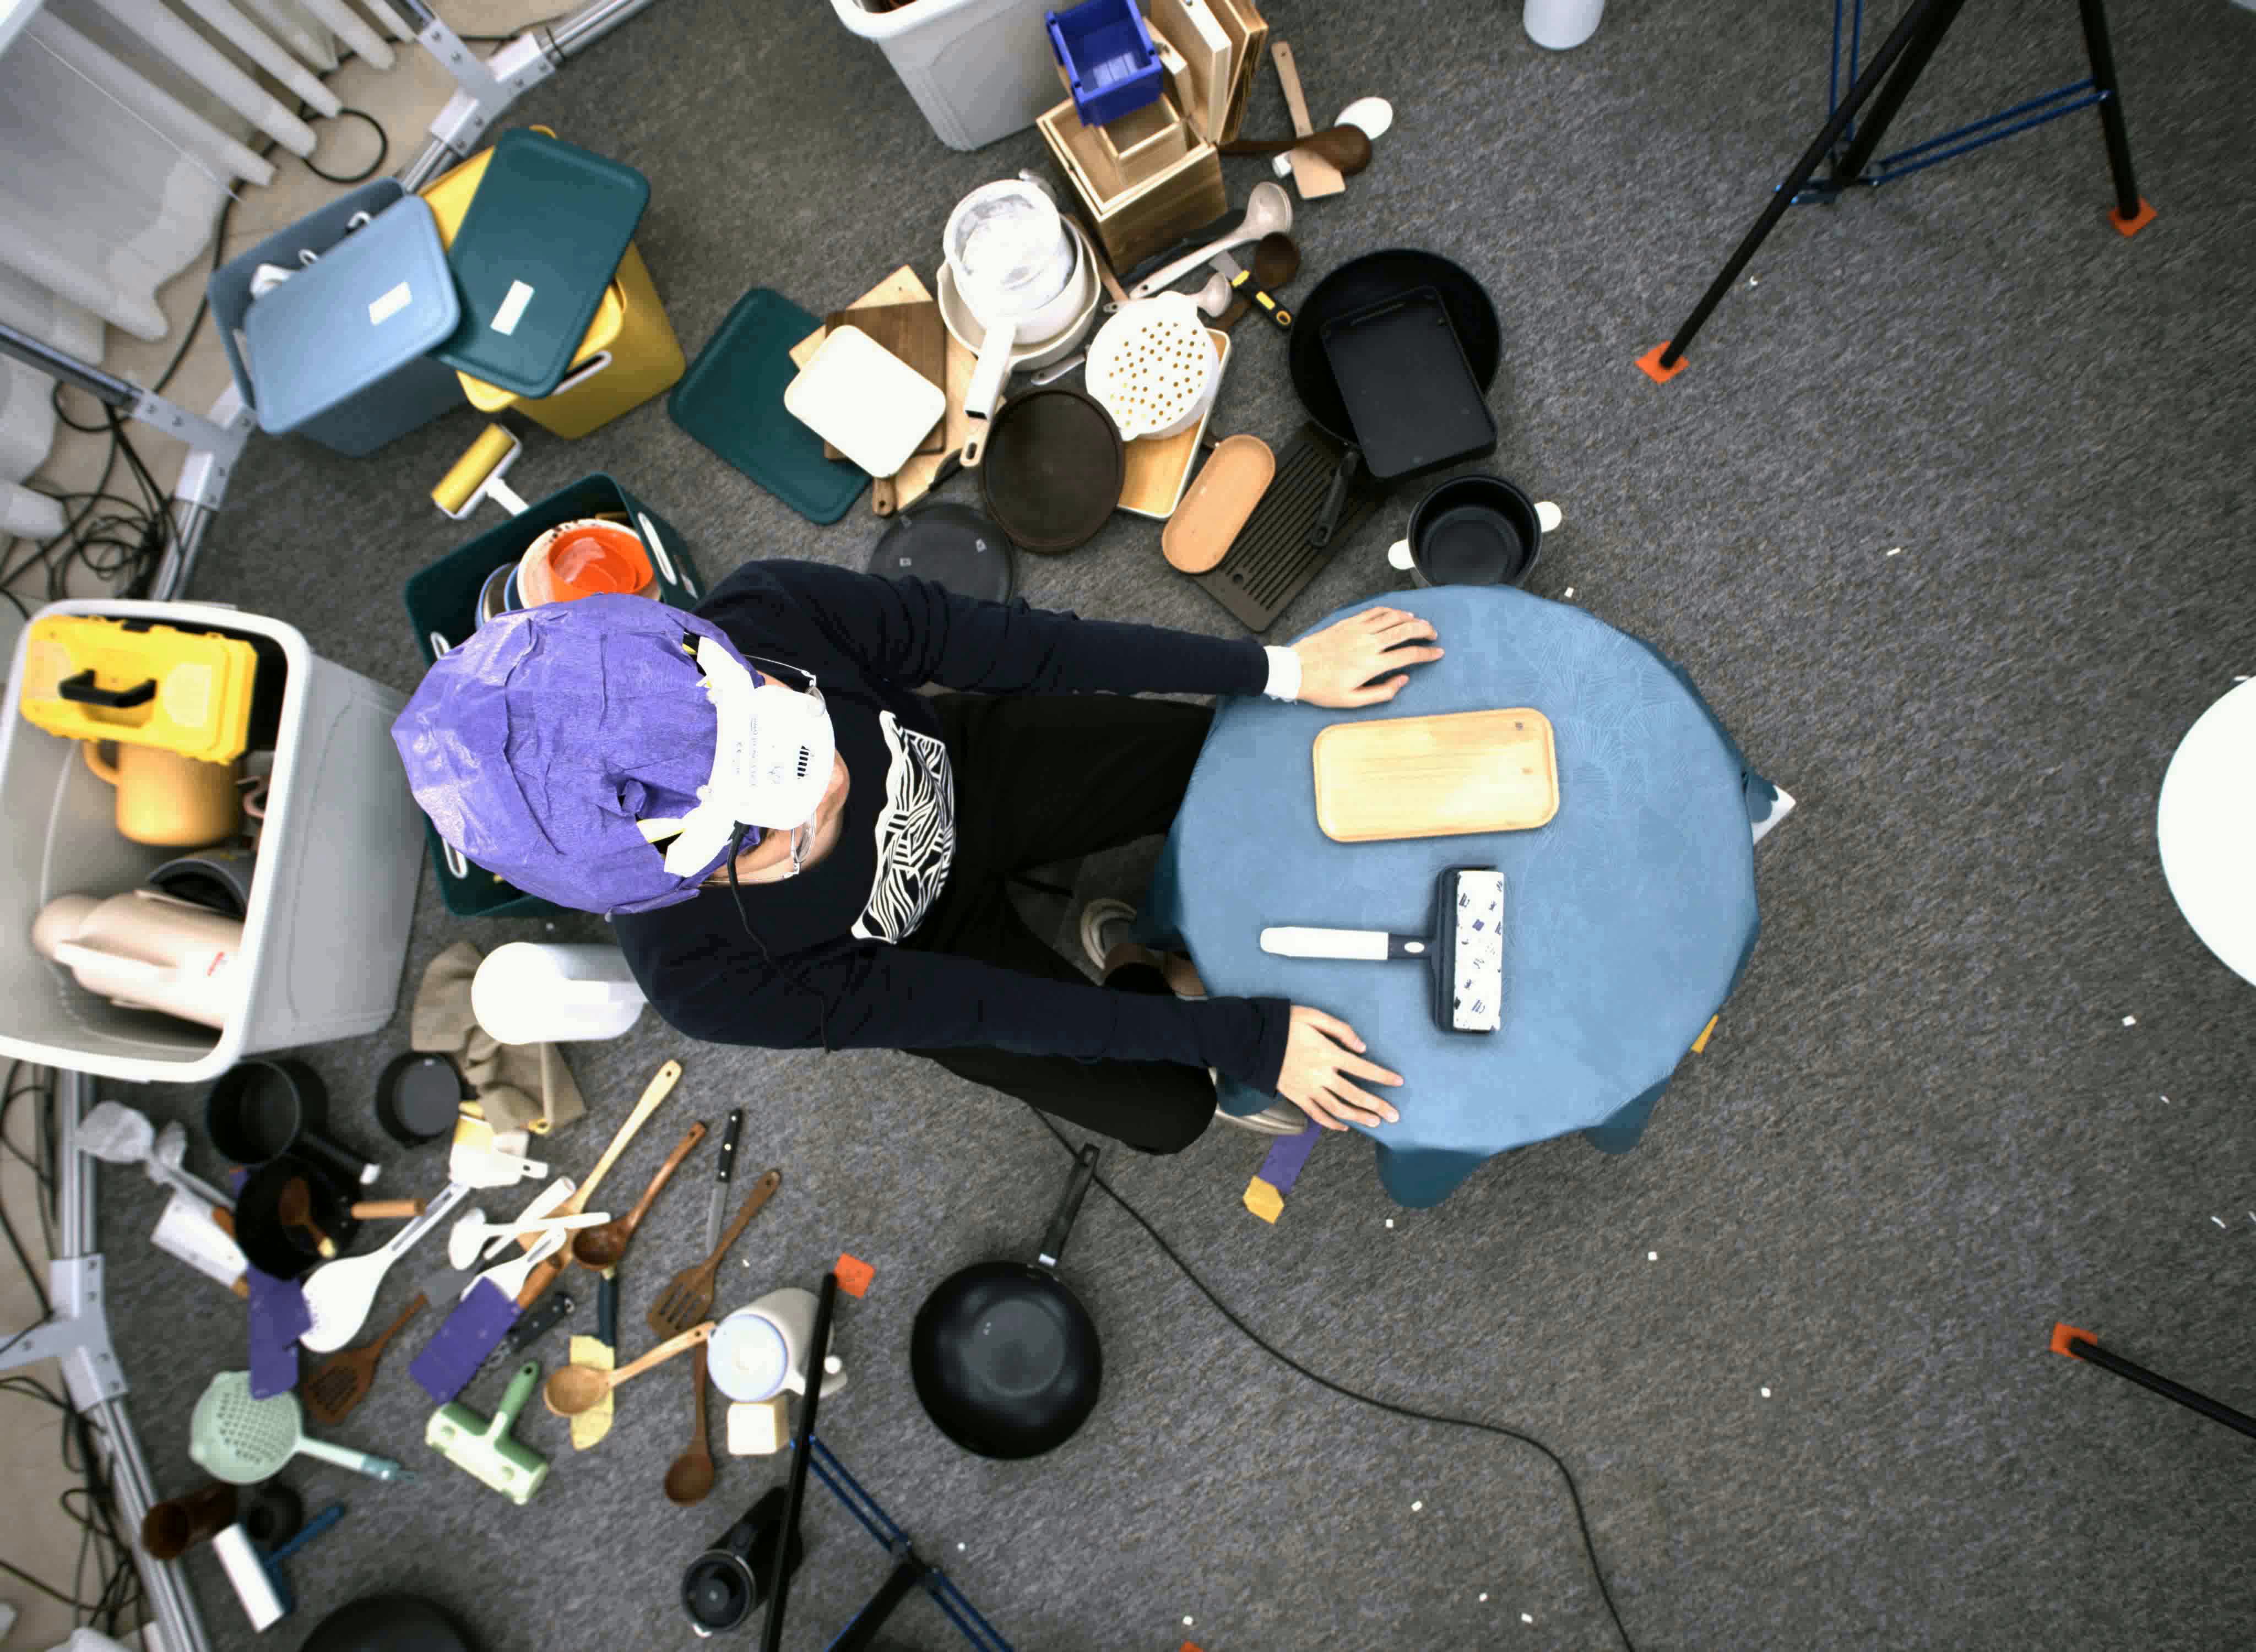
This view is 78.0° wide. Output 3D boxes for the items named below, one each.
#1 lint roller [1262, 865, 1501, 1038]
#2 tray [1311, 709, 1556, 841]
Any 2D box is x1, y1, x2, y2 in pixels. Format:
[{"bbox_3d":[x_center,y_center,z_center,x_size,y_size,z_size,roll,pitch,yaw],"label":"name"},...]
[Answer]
[{"bbox_3d":[0.261,0.125,1.439,0.248,0.050,0.175,1,87,14],"label":"lint roller"},{"bbox_3d":[0.320,-0.055,1.450,0.252,0.023,0.129,-3,83,12],"label":"tray"}]
